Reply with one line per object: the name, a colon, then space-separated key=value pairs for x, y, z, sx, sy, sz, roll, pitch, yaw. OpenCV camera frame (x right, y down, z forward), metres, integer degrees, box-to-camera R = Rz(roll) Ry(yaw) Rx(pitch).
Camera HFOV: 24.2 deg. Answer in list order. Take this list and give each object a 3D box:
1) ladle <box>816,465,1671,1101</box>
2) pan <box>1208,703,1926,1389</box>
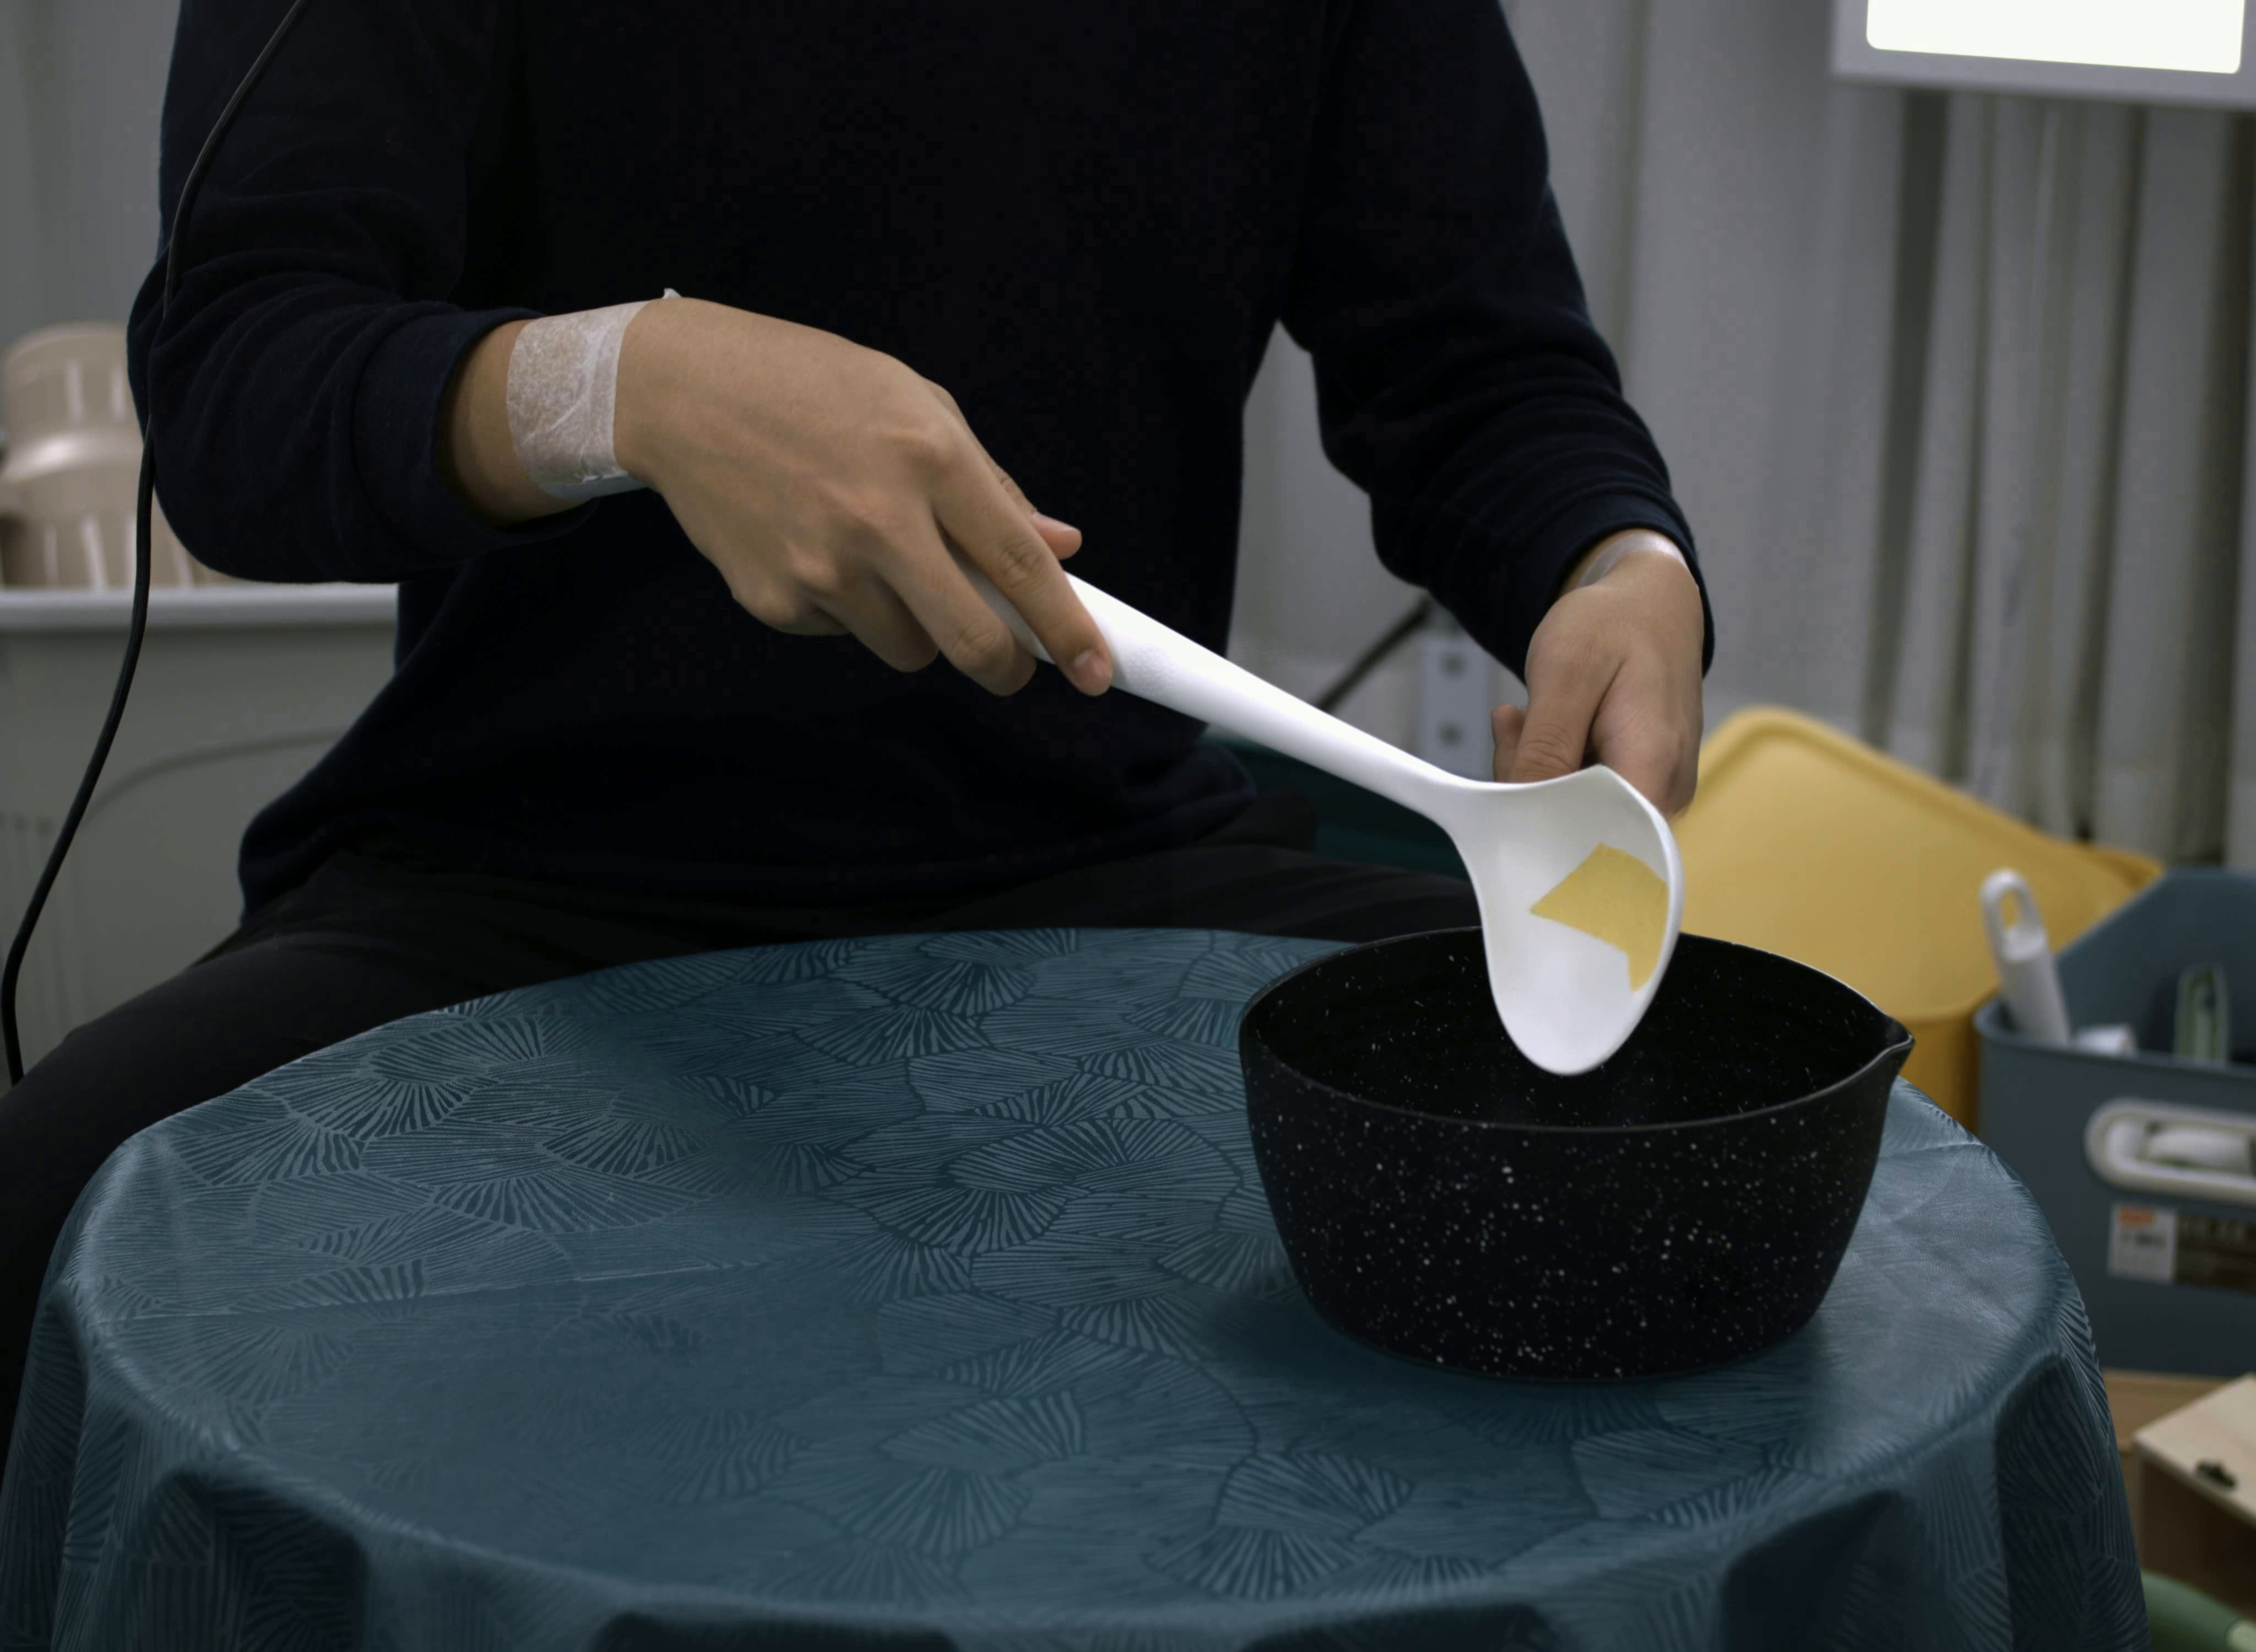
ladle: x=0.030 y=-0.020 z=1.533 sx=0.291 sy=0.091 sz=0.070 roll=28 pitch=35 yaw=11
pan: x=0.131 y=0.061 z=1.599 sx=0.206 sy=0.109 sz=0.341 roll=0 pitch=18 yaw=3
